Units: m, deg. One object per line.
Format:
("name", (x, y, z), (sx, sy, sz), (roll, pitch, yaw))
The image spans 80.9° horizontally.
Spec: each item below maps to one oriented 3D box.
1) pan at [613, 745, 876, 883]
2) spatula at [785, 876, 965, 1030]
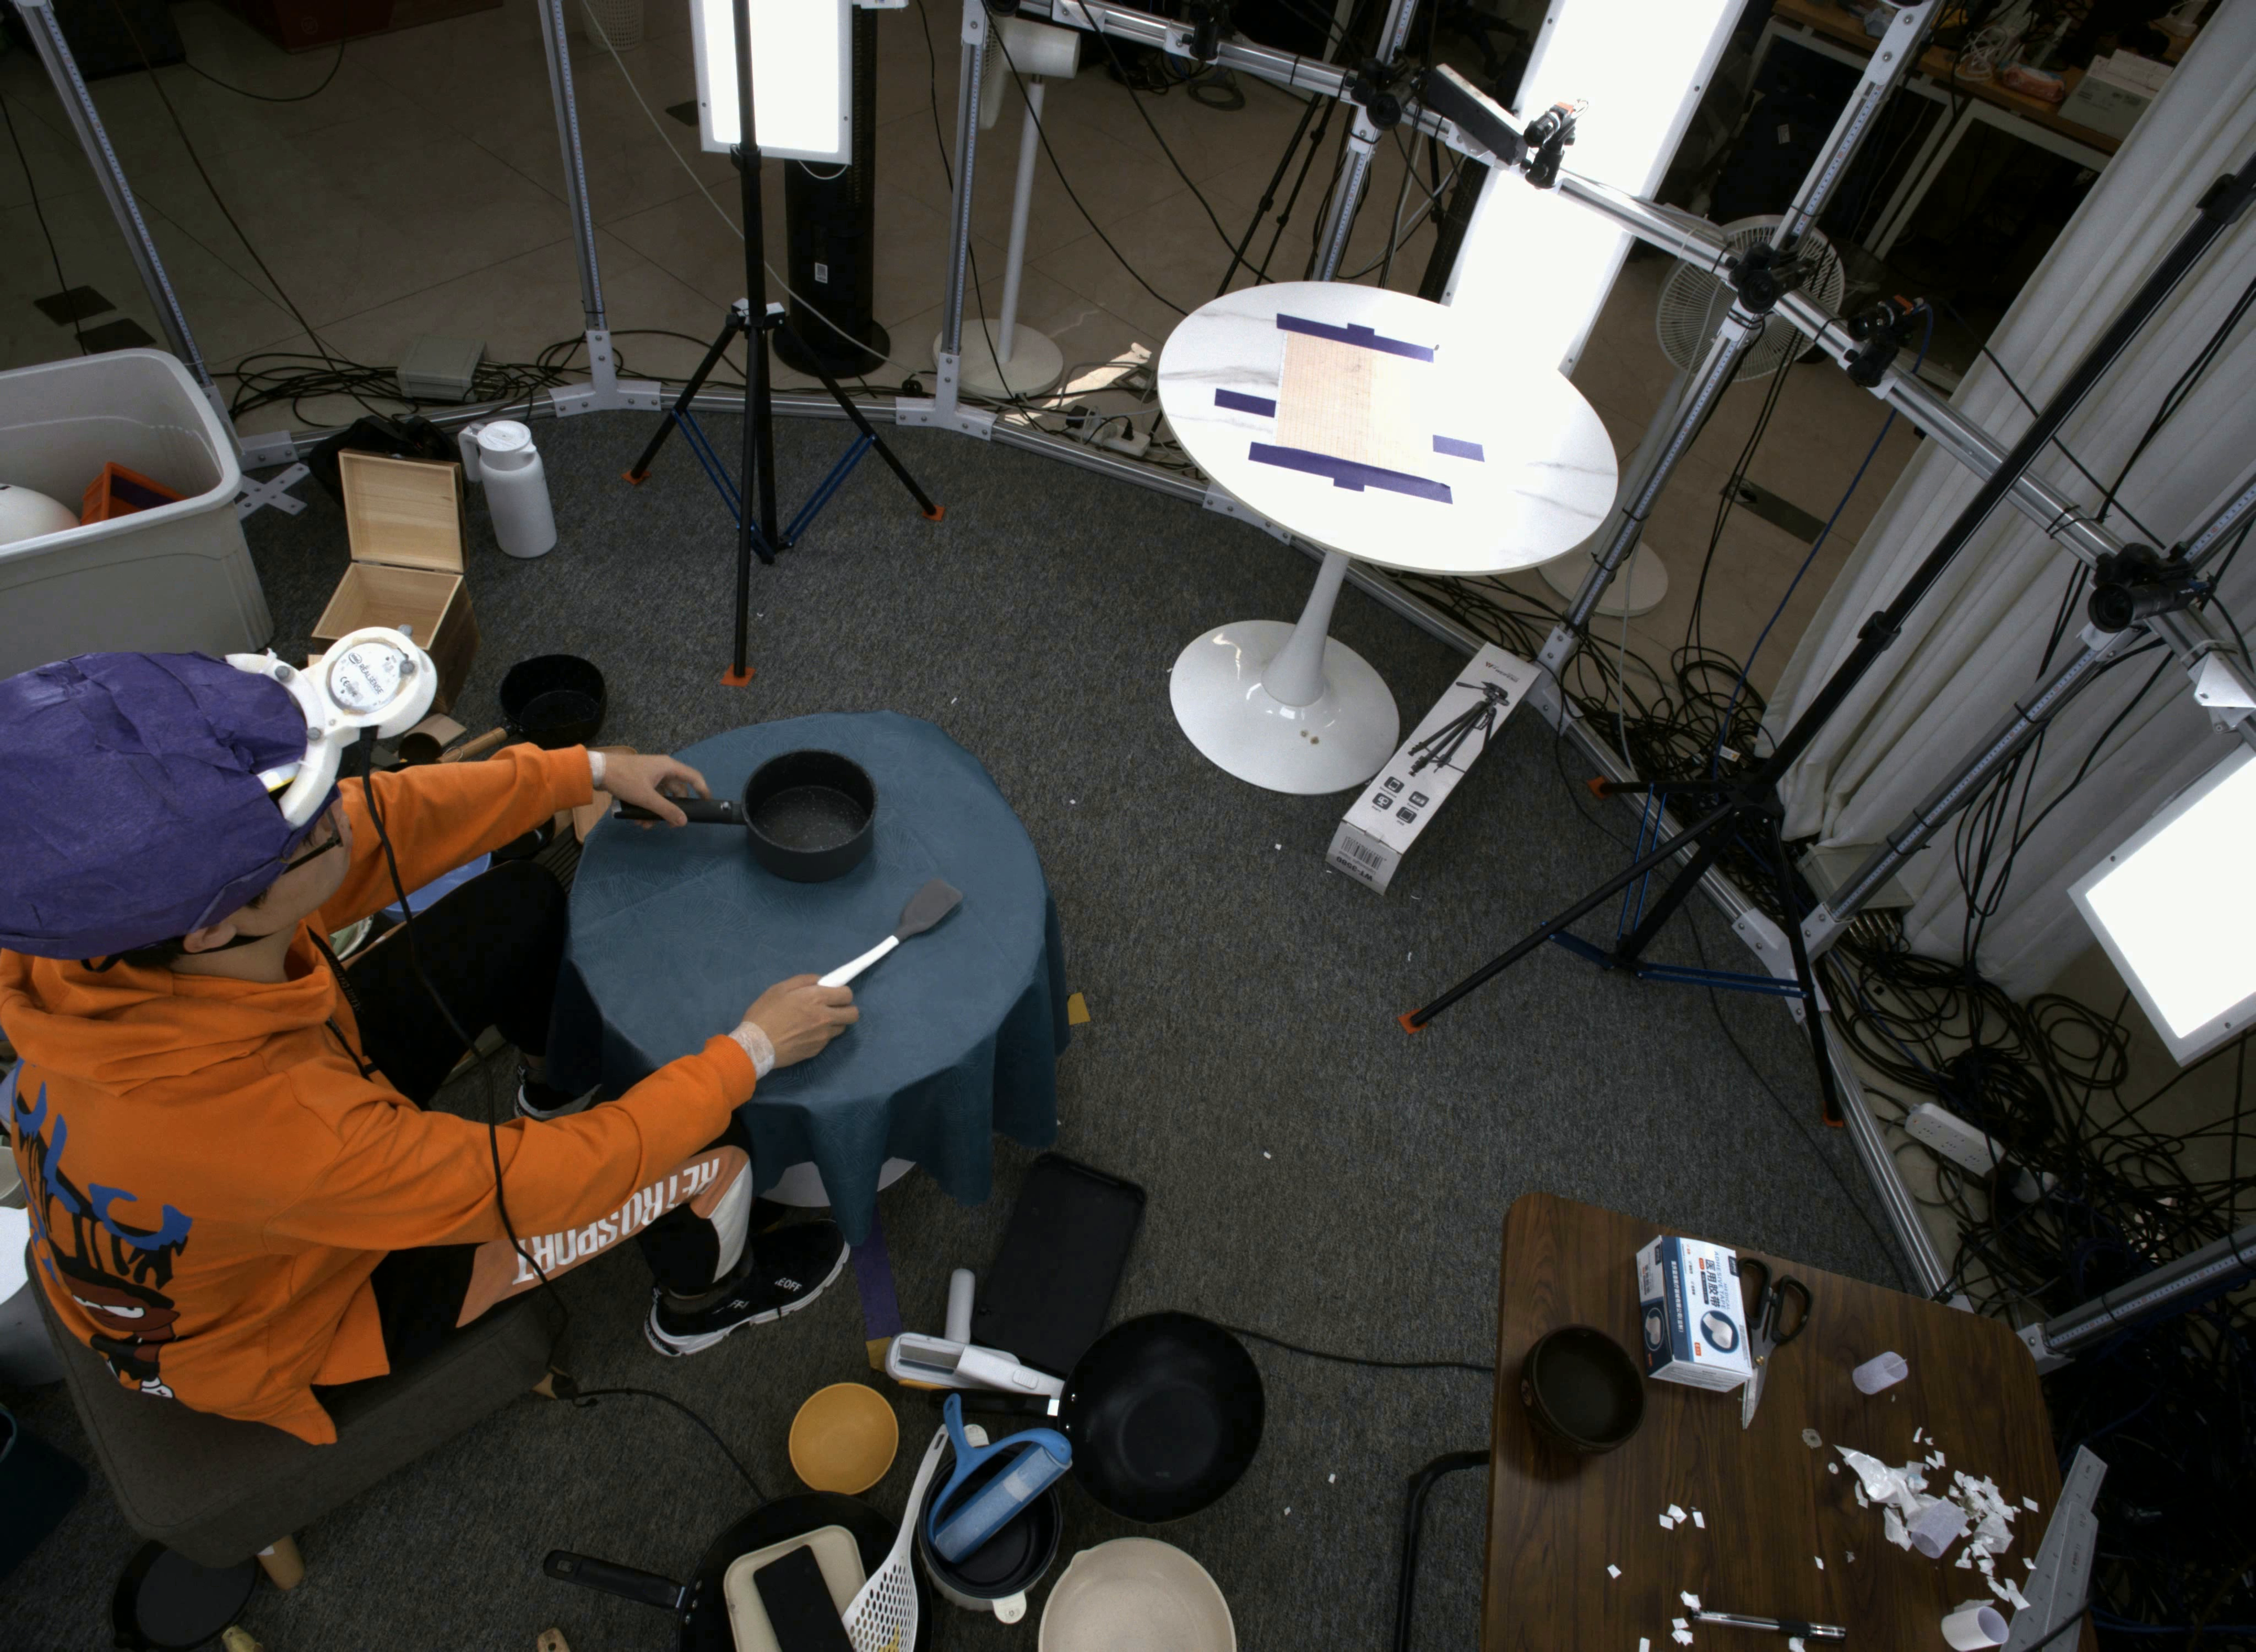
("pan", (-0.489, -0.015, 1.653), (0.330, 0.088, 0.168), (0, 52, -17))
("spatula", (-0.310, 0.150, 1.604), (0.057, 0.033, 0.288), (26, 44, 23))
